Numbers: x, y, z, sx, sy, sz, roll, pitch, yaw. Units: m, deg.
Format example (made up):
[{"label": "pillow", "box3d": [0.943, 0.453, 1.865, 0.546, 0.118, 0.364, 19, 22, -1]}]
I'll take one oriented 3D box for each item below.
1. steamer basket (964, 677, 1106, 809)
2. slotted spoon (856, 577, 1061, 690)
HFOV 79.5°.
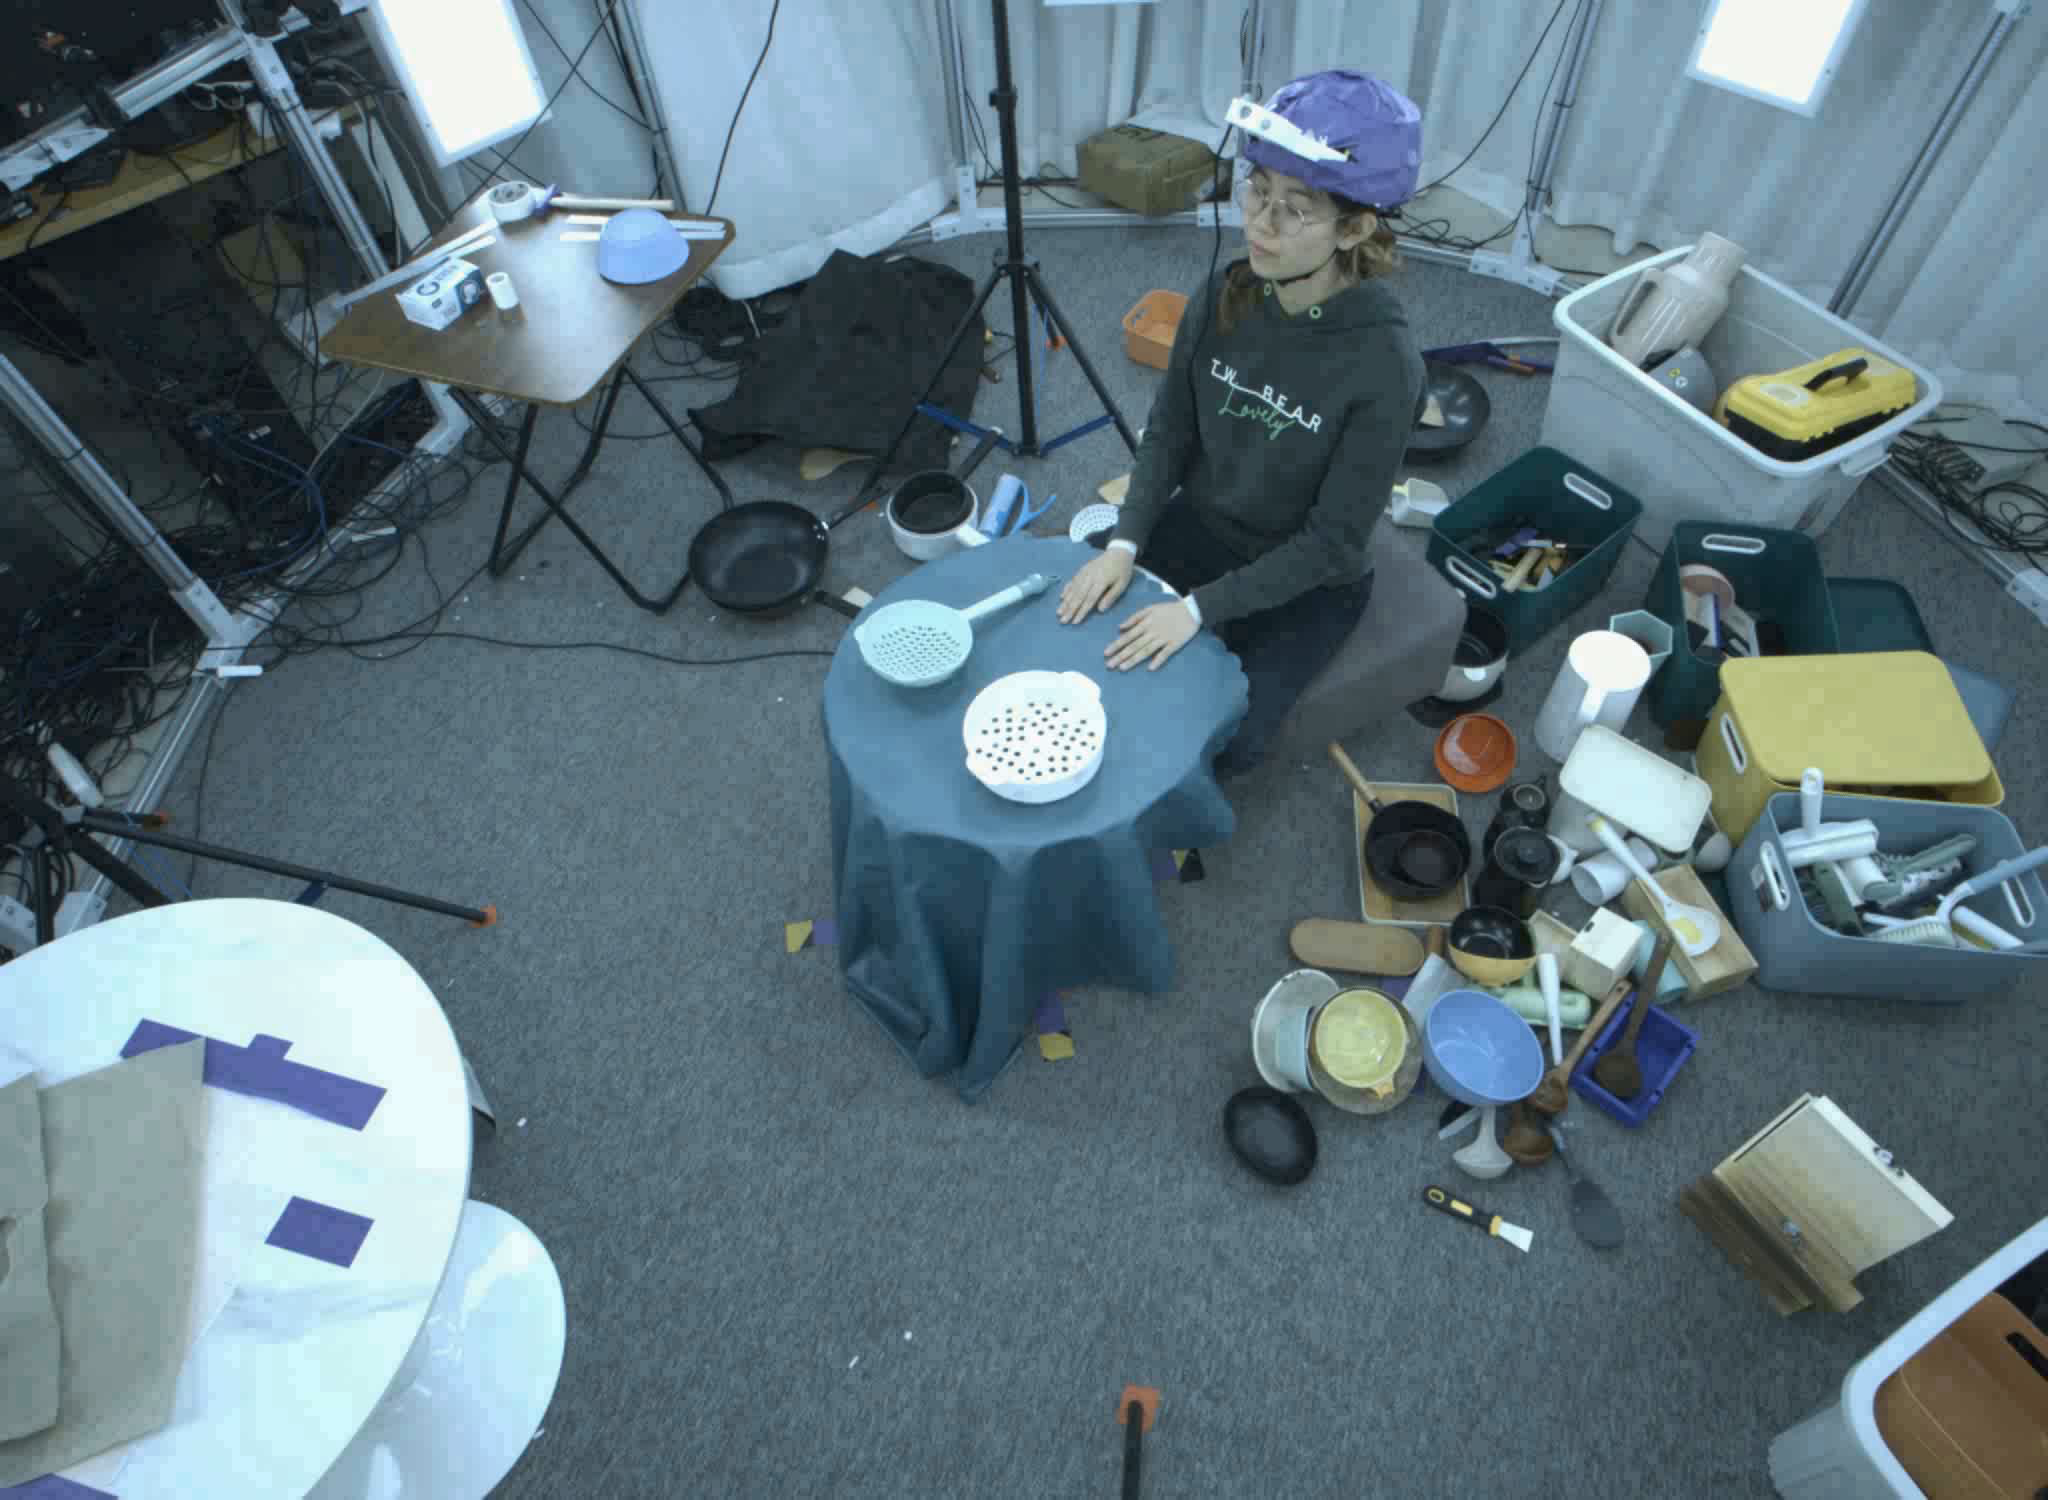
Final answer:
[{"label": "steamer basket", "box3d": [0.016, -0.008, 1.763, 0.198, 0.070, 0.232, 36, 63, 22]}, {"label": "slotted spoon", "box3d": [-0.086, -0.199, 1.901, 0.361, 0.076, 0.166, -34, 61, -20]}]
